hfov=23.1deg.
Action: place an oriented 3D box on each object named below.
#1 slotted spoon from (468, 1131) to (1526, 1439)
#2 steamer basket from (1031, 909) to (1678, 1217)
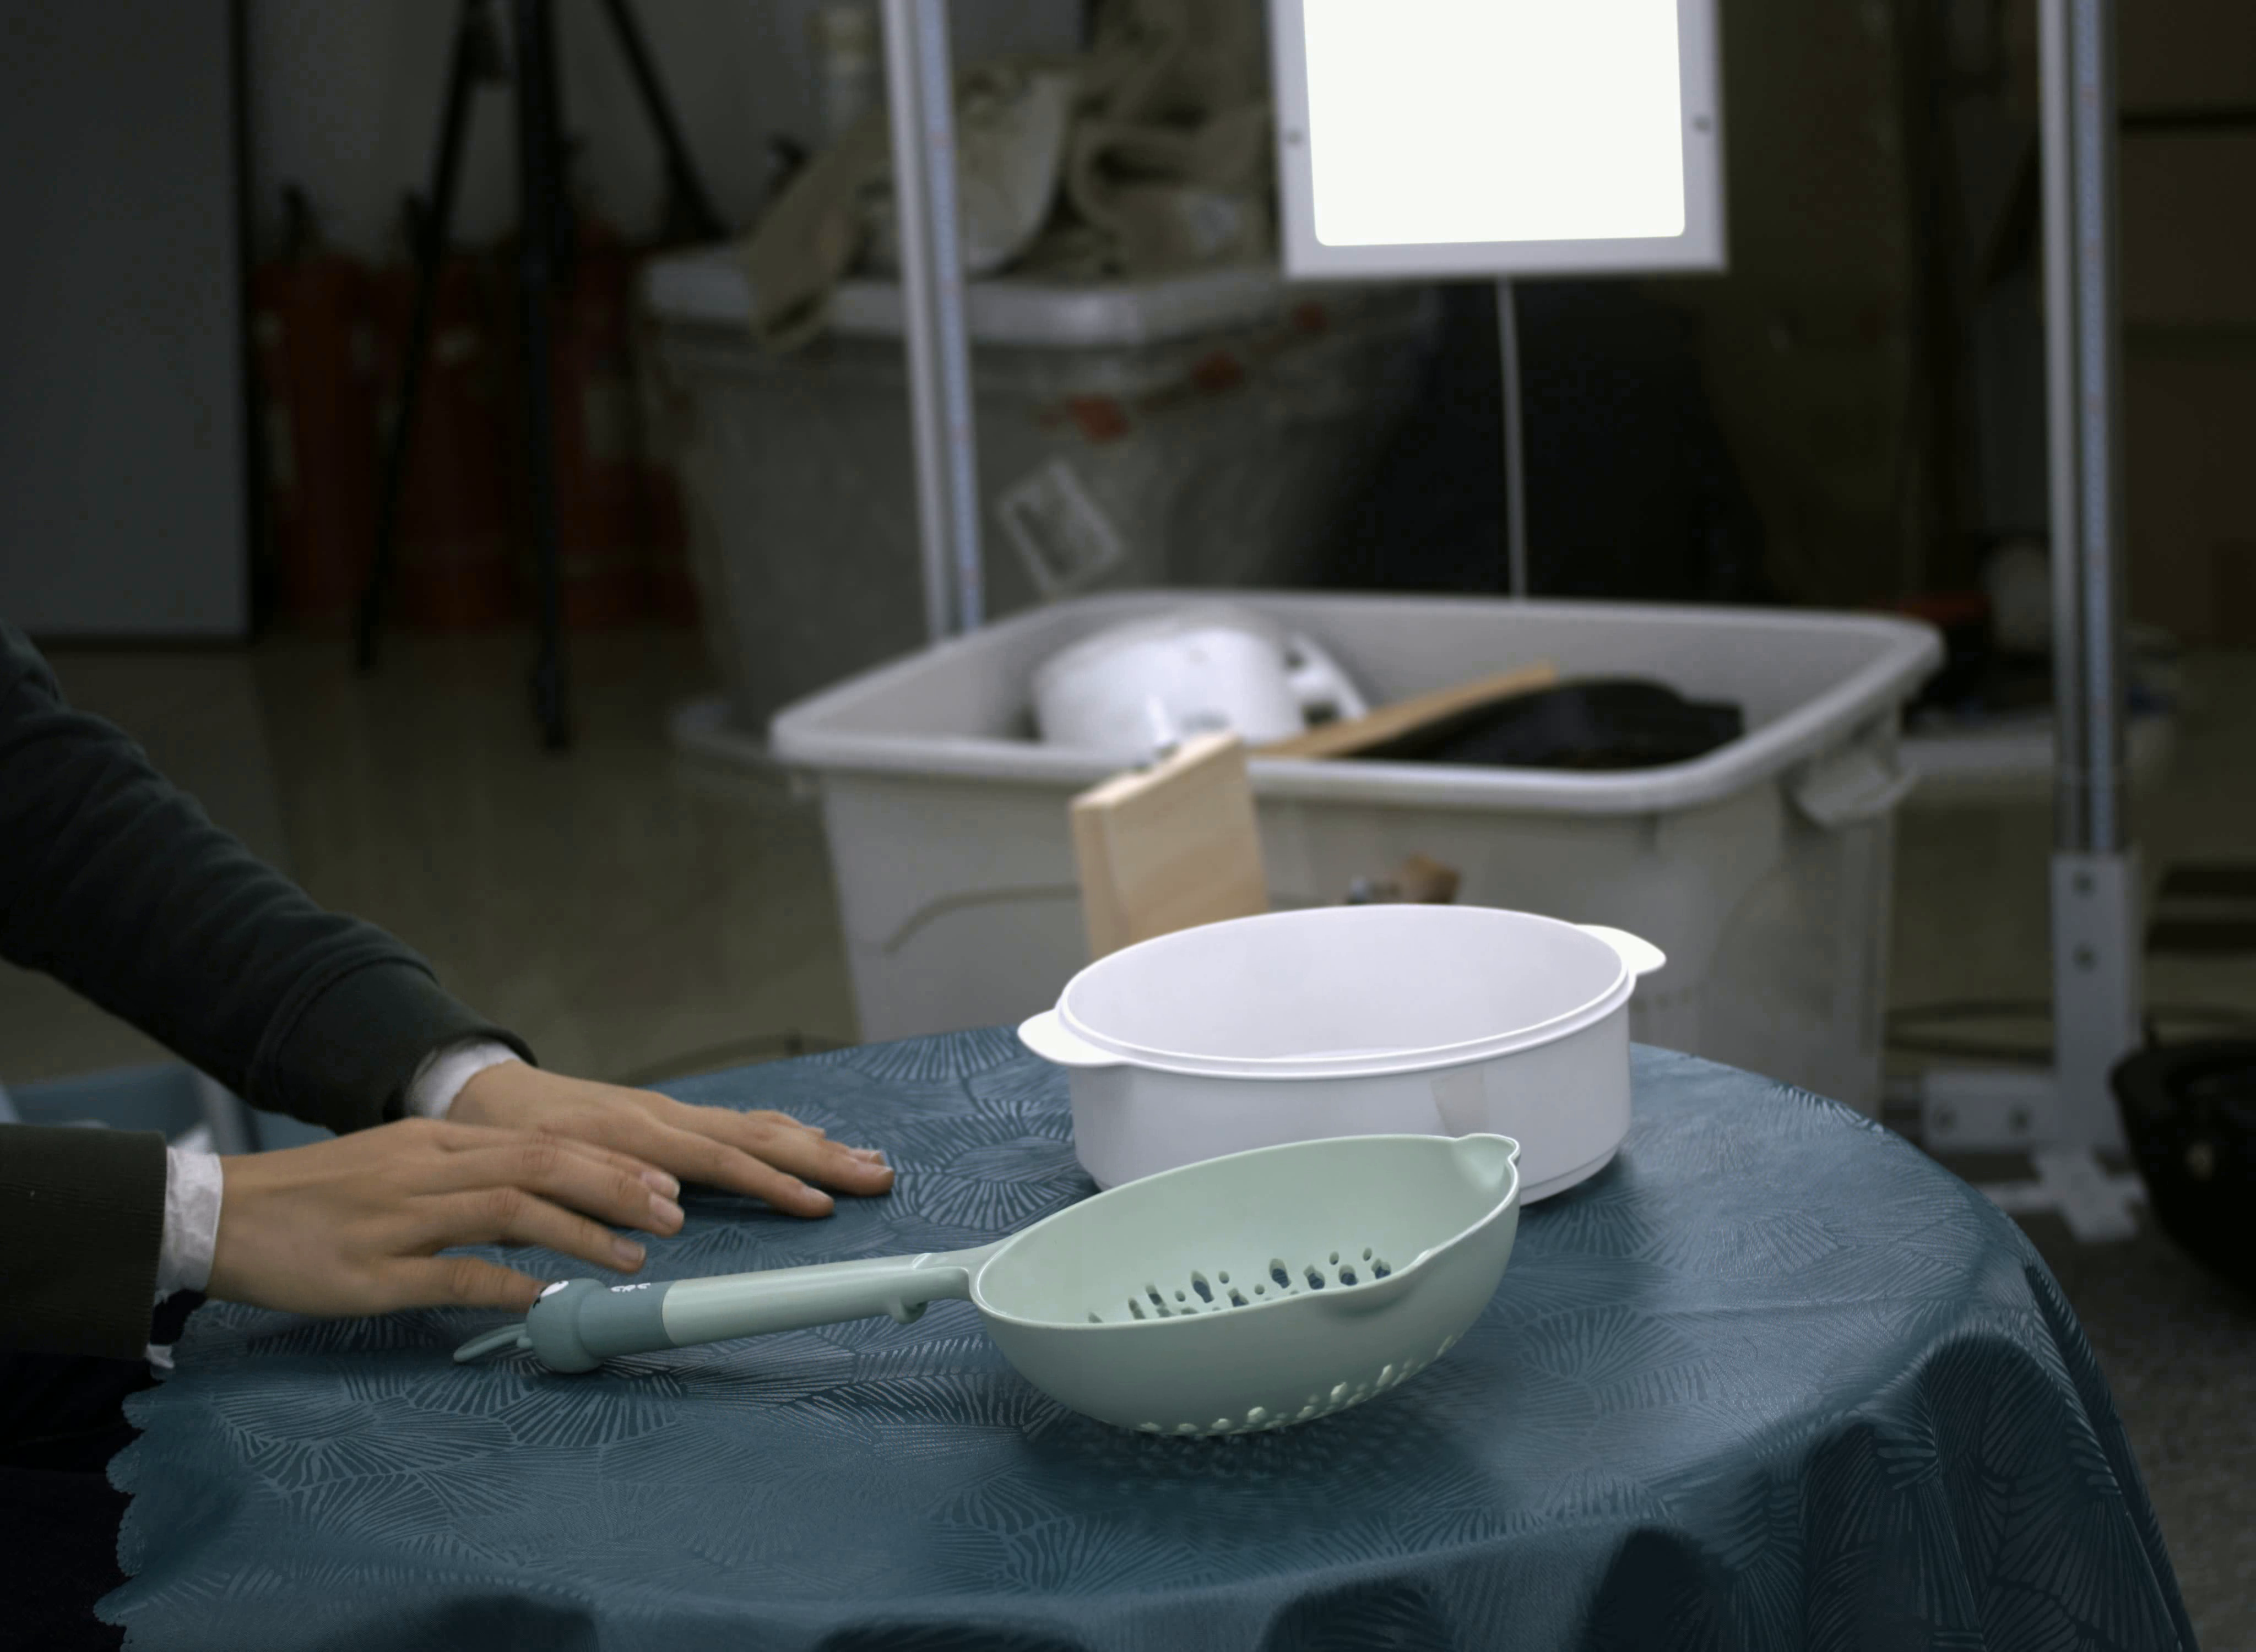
[{"bbox_3d":[-0.049,0.144,1.707,0.364,0.075,0.166,1,15,23],"label":"slotted spoon"},{"bbox_3d":[0.082,0.085,1.901,0.227,0.069,0.204,-9,14,-17],"label":"steamer basket"}]
